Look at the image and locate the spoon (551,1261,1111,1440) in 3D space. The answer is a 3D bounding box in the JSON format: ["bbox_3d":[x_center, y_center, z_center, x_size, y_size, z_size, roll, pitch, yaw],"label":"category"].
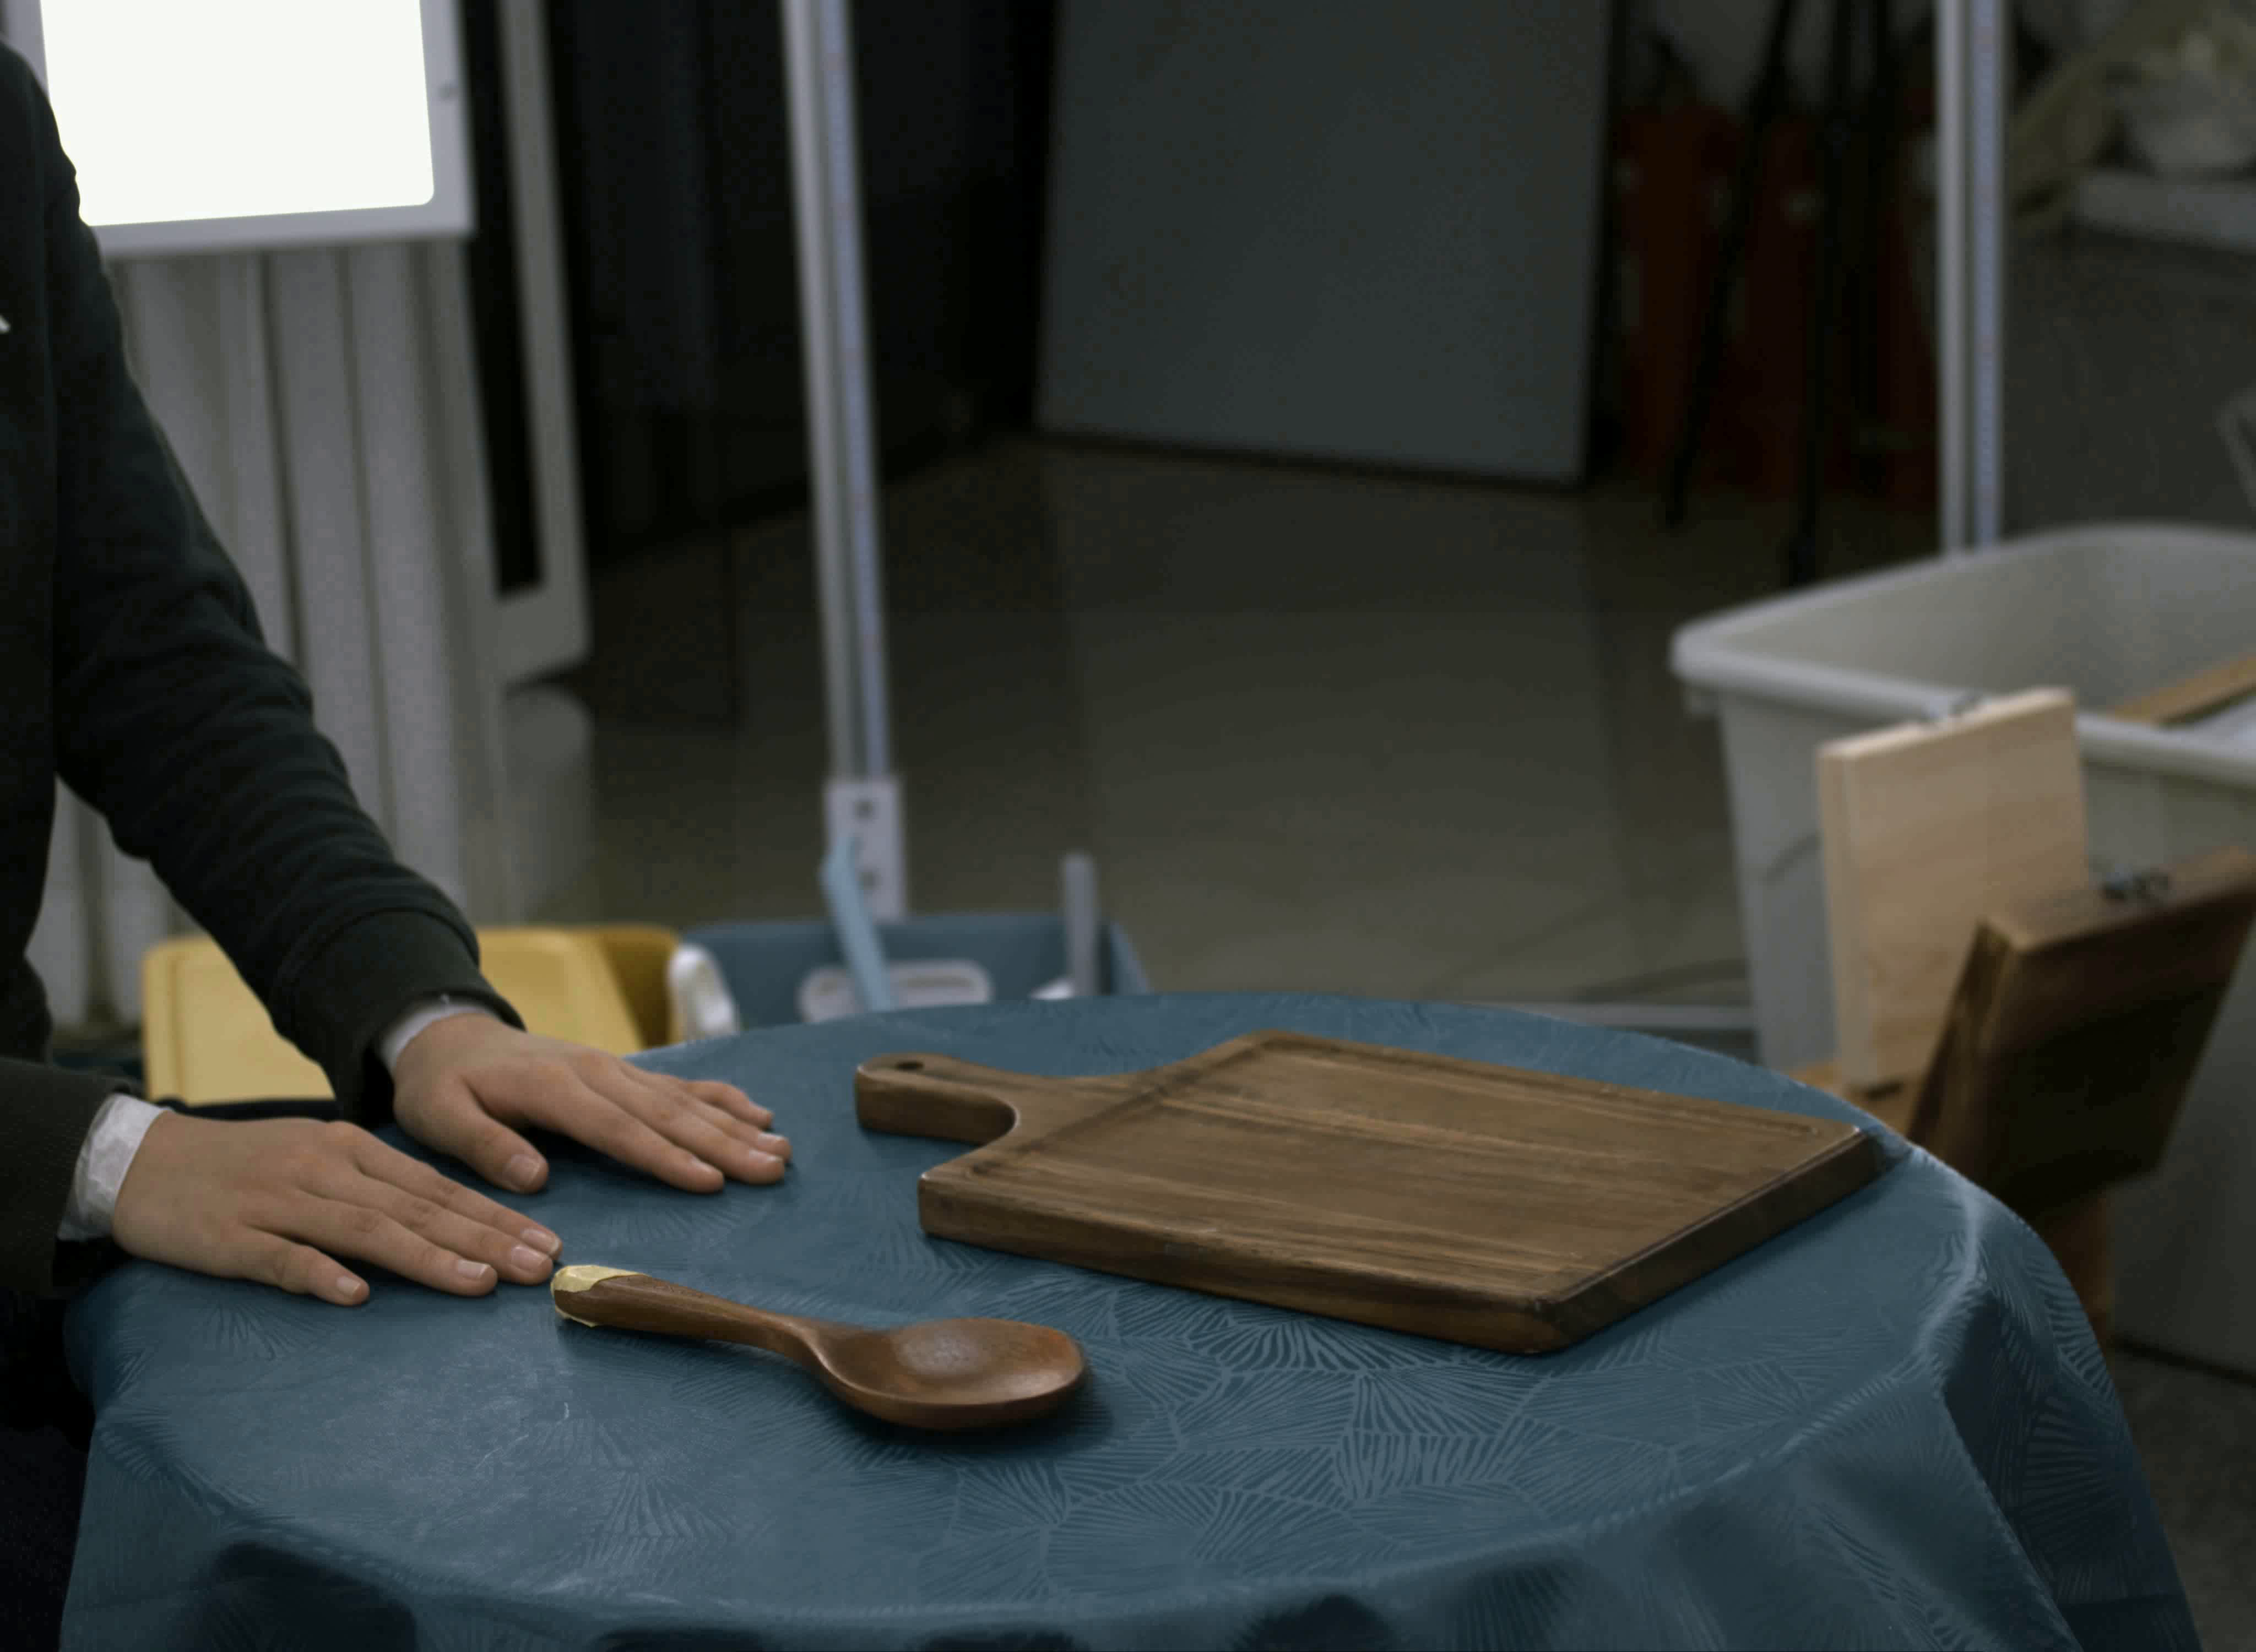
[{"bbox_3d":[-0.094,0.156,1.621,0.217,0.017,0.074,9,21,41],"label":"spoon"}]

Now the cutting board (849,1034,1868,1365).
[{"bbox_3d":[0.047,0.111,1.764,0.355,0.023,0.197,7,19,39],"label":"cutting board"}]
